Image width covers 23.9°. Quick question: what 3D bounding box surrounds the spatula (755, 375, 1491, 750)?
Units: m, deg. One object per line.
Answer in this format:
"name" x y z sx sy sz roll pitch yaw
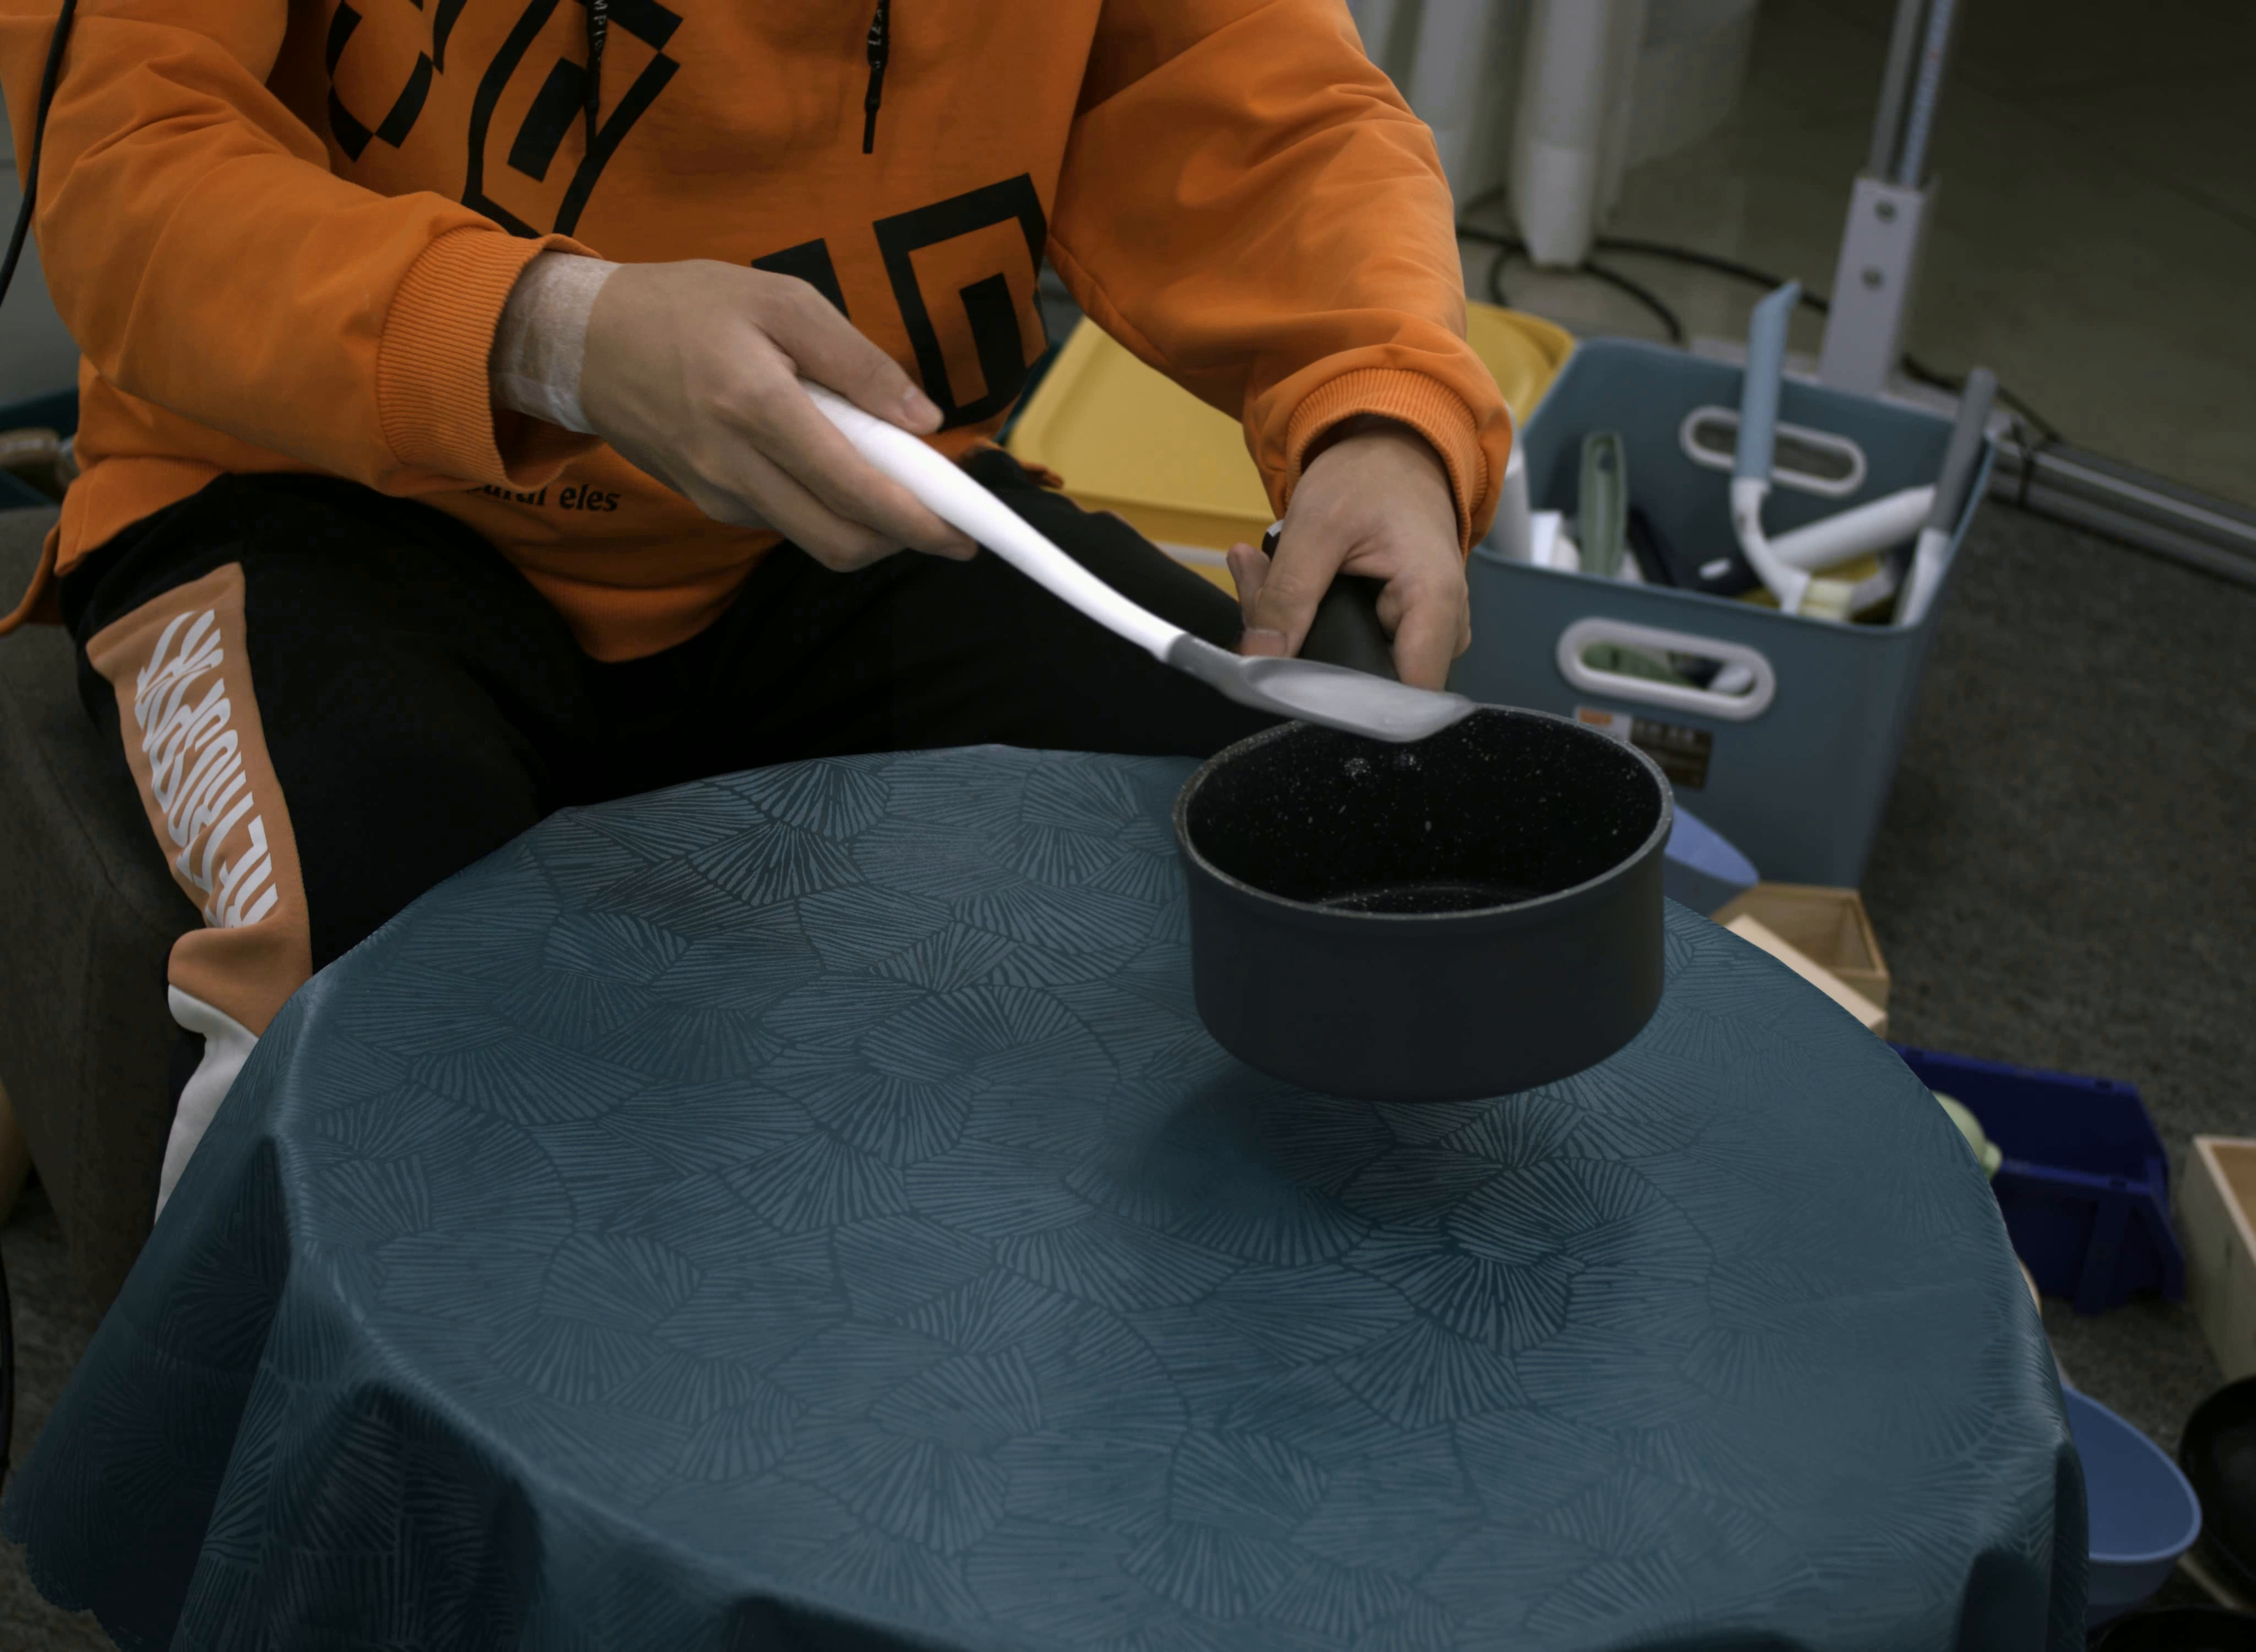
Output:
"spatula" -0.007 -0.084 1.809 0.289 0.032 0.058 28 26 26

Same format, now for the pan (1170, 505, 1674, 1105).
"pan" 0.093 -0.011 1.893 0.171 0.086 0.331 -4 27 -4
